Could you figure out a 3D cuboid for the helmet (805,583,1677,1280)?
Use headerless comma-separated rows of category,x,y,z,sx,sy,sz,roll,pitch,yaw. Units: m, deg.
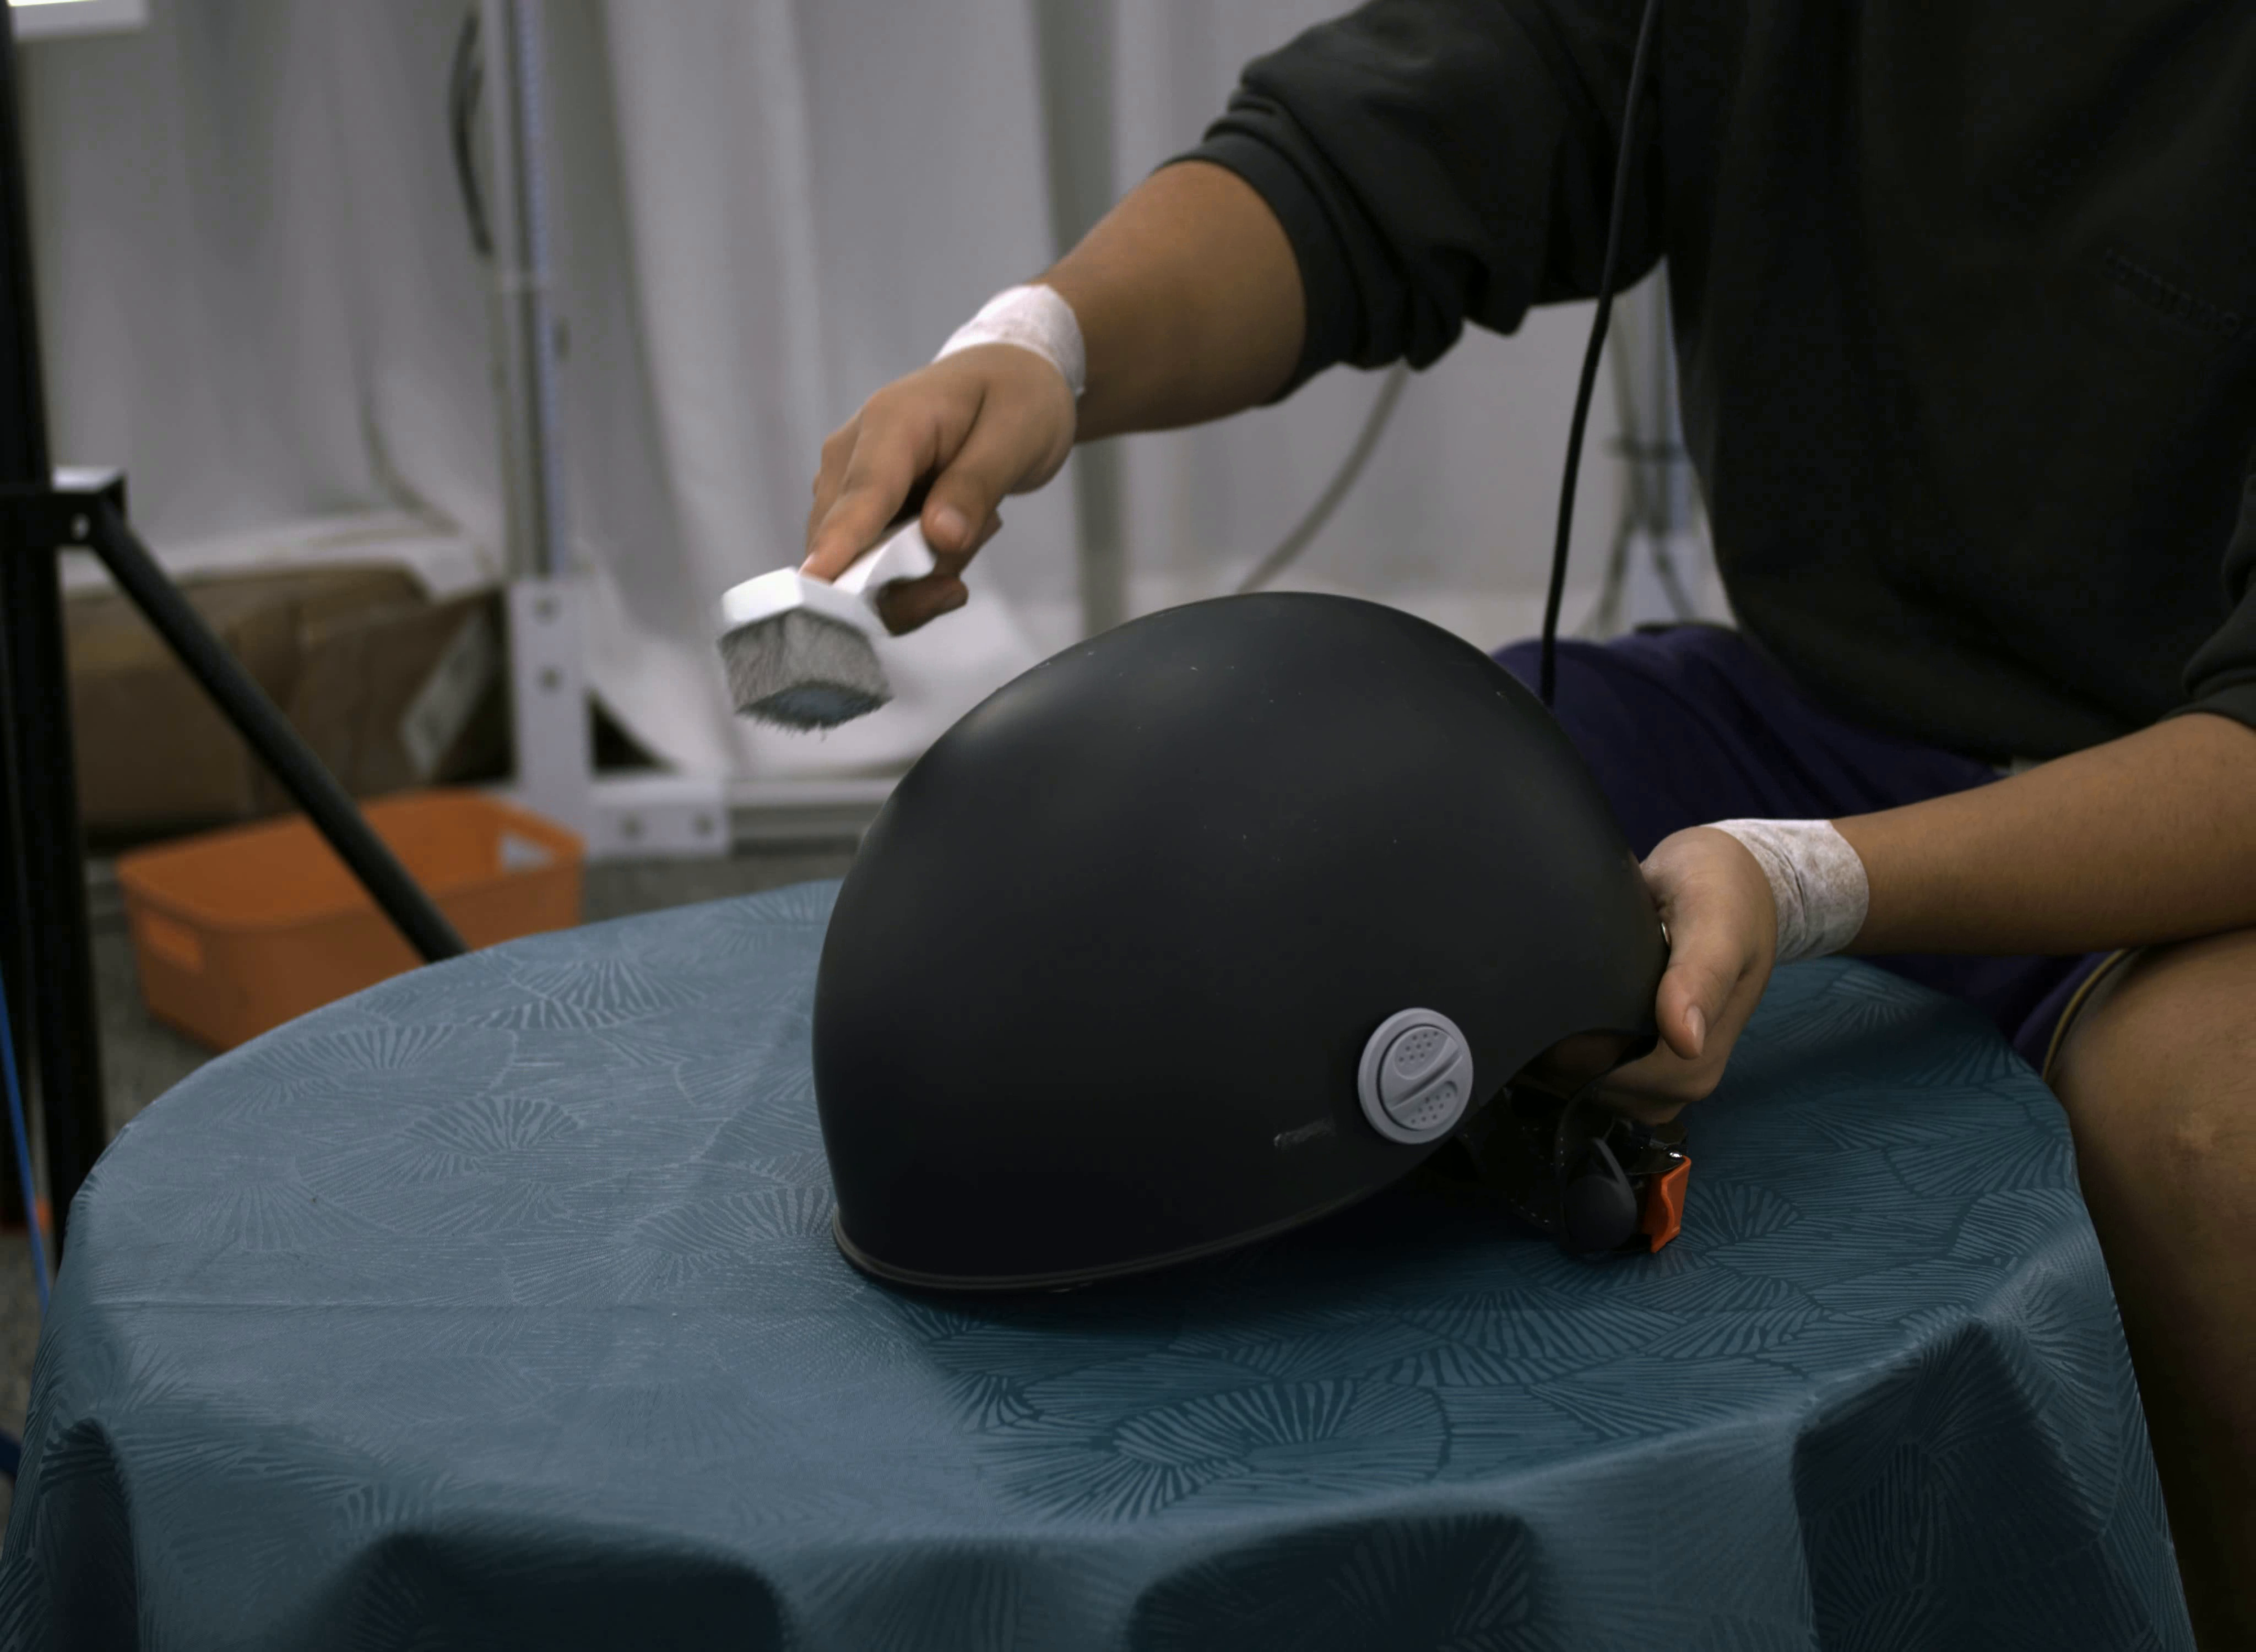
helmet,0.023,0.020,1.546,0.267,0.167,0.235,-21,14,-37

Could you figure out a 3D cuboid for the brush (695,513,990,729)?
brush,-0.078,-0.065,1.669,0.034,0.050,0.241,-23,2,17
